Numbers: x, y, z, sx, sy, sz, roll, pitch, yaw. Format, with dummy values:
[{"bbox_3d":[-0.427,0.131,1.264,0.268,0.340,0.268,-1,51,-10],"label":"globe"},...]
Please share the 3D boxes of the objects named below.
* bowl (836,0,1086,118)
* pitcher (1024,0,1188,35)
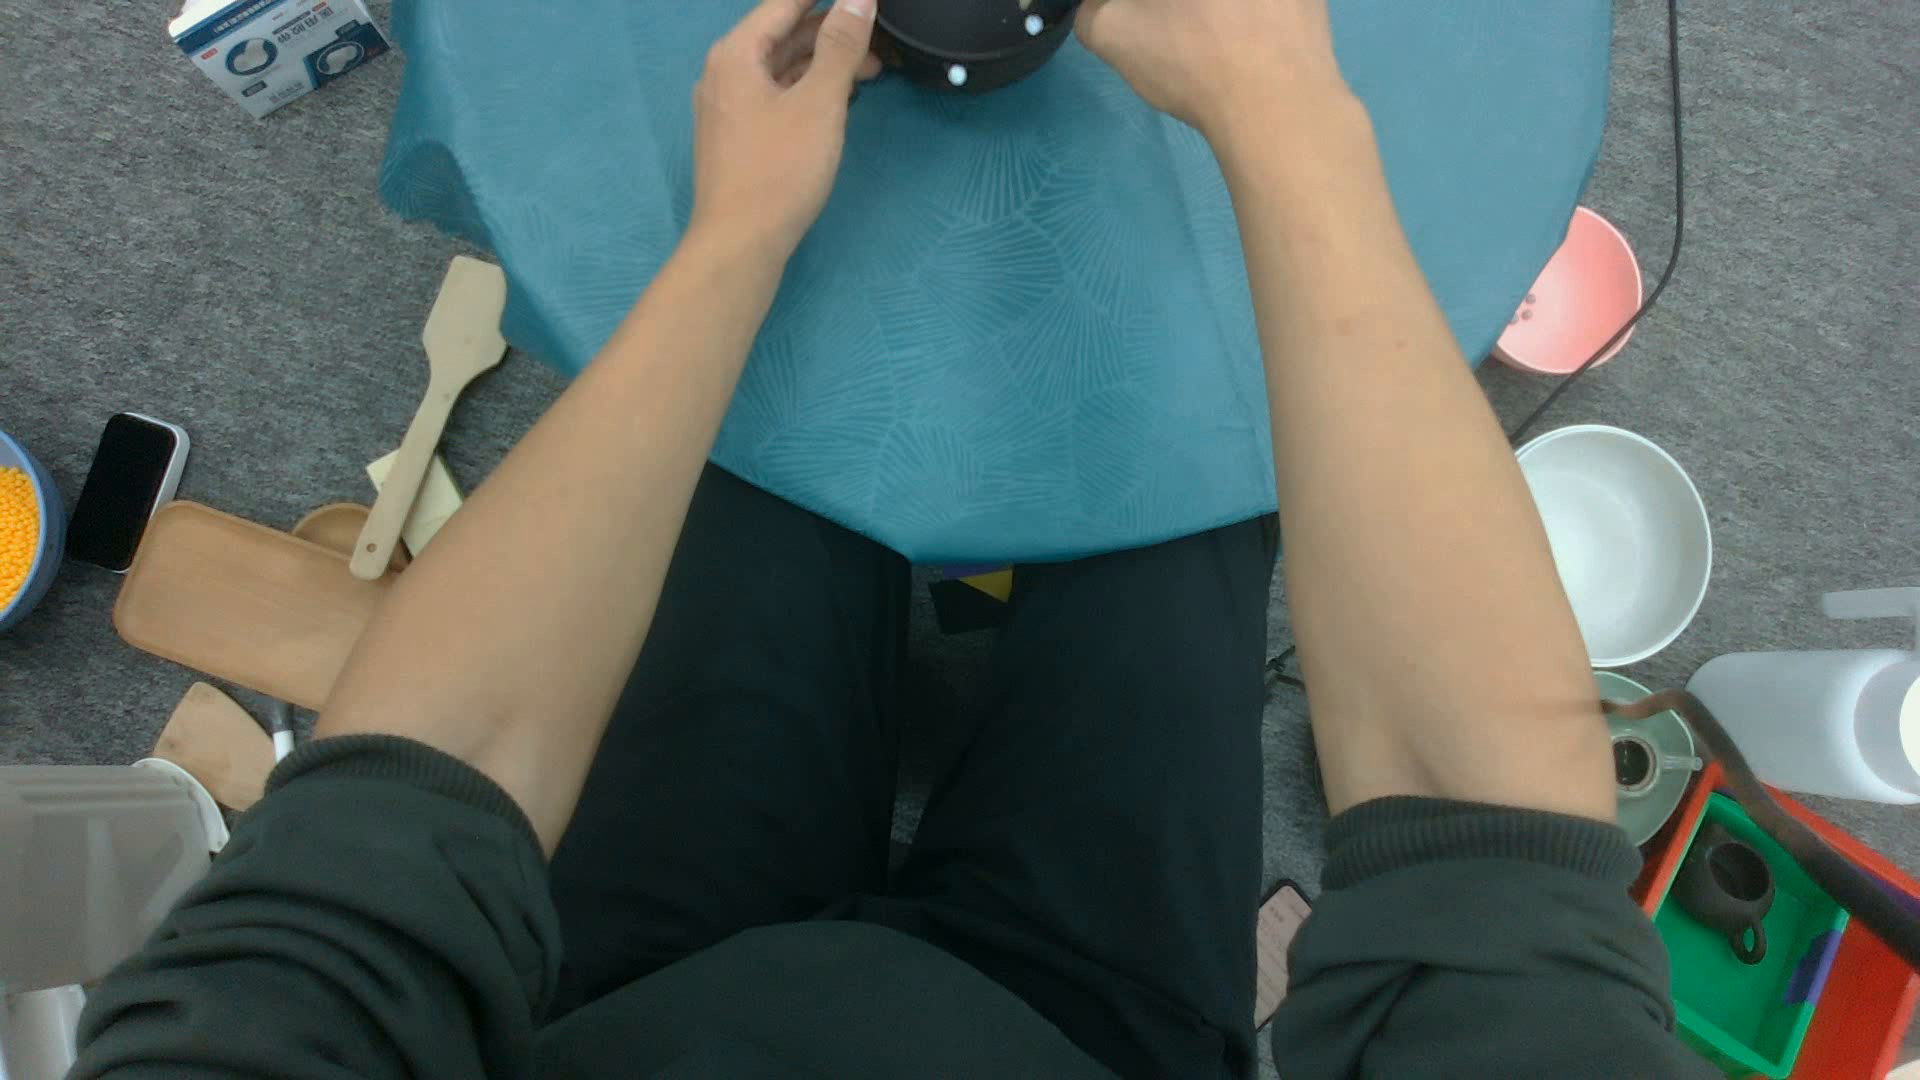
[{"bbox_3d":[-0.001,-0.259,0.664,0.118,0.070,0.118,1,82,-5],"label":"bowl"},{"bbox_3d":[0.064,-0.259,0.594,0.071,0.096,0.083,3,95,-5],"label":"pitcher"}]
